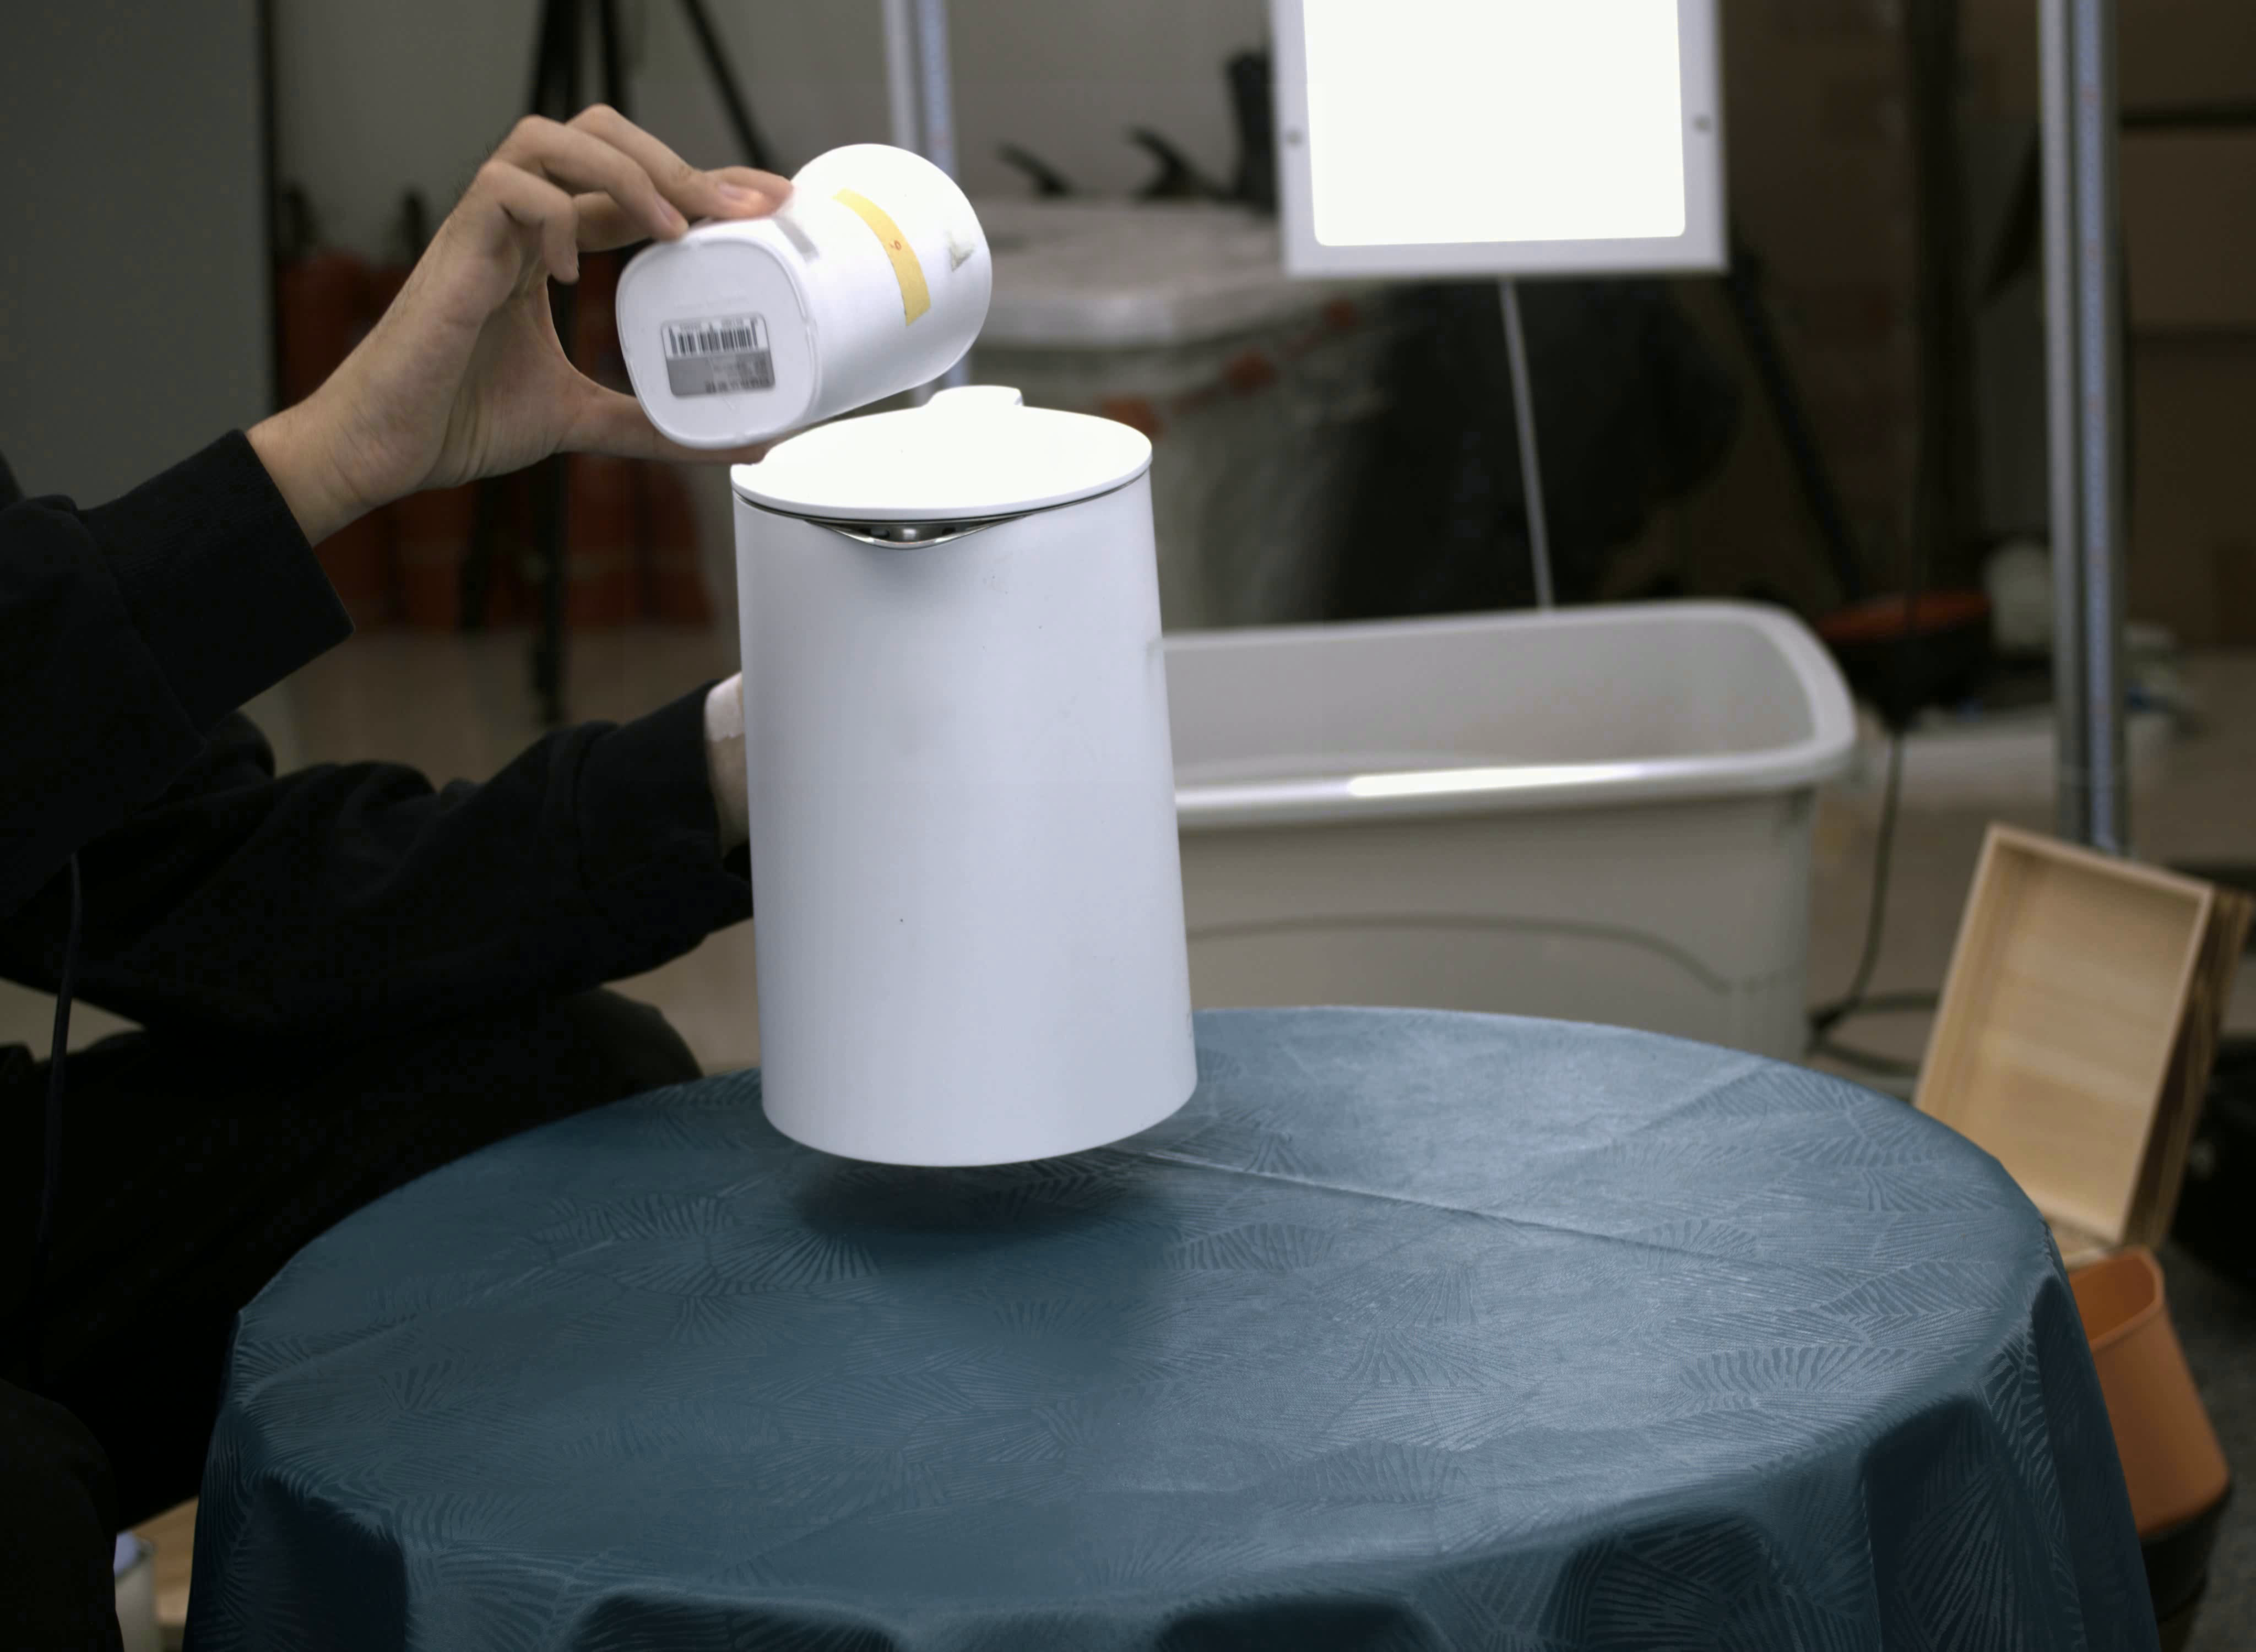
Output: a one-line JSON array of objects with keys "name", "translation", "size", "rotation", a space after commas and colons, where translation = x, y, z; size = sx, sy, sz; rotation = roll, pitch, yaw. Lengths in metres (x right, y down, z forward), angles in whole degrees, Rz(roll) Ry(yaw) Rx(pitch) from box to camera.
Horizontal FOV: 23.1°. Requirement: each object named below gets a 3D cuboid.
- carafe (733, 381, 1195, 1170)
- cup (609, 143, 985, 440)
[{"name": "carafe", "translation": [-0.053, -0.024, 1.909], "size": [0.153, 0.241, 0.211], "rotation": [0, 18, 8]}, {"name": "cup", "translation": [-0.104, -0.165, 1.723], "size": [0.083, 0.082, 0.123], "rotation": [1, 15, 22]}]
